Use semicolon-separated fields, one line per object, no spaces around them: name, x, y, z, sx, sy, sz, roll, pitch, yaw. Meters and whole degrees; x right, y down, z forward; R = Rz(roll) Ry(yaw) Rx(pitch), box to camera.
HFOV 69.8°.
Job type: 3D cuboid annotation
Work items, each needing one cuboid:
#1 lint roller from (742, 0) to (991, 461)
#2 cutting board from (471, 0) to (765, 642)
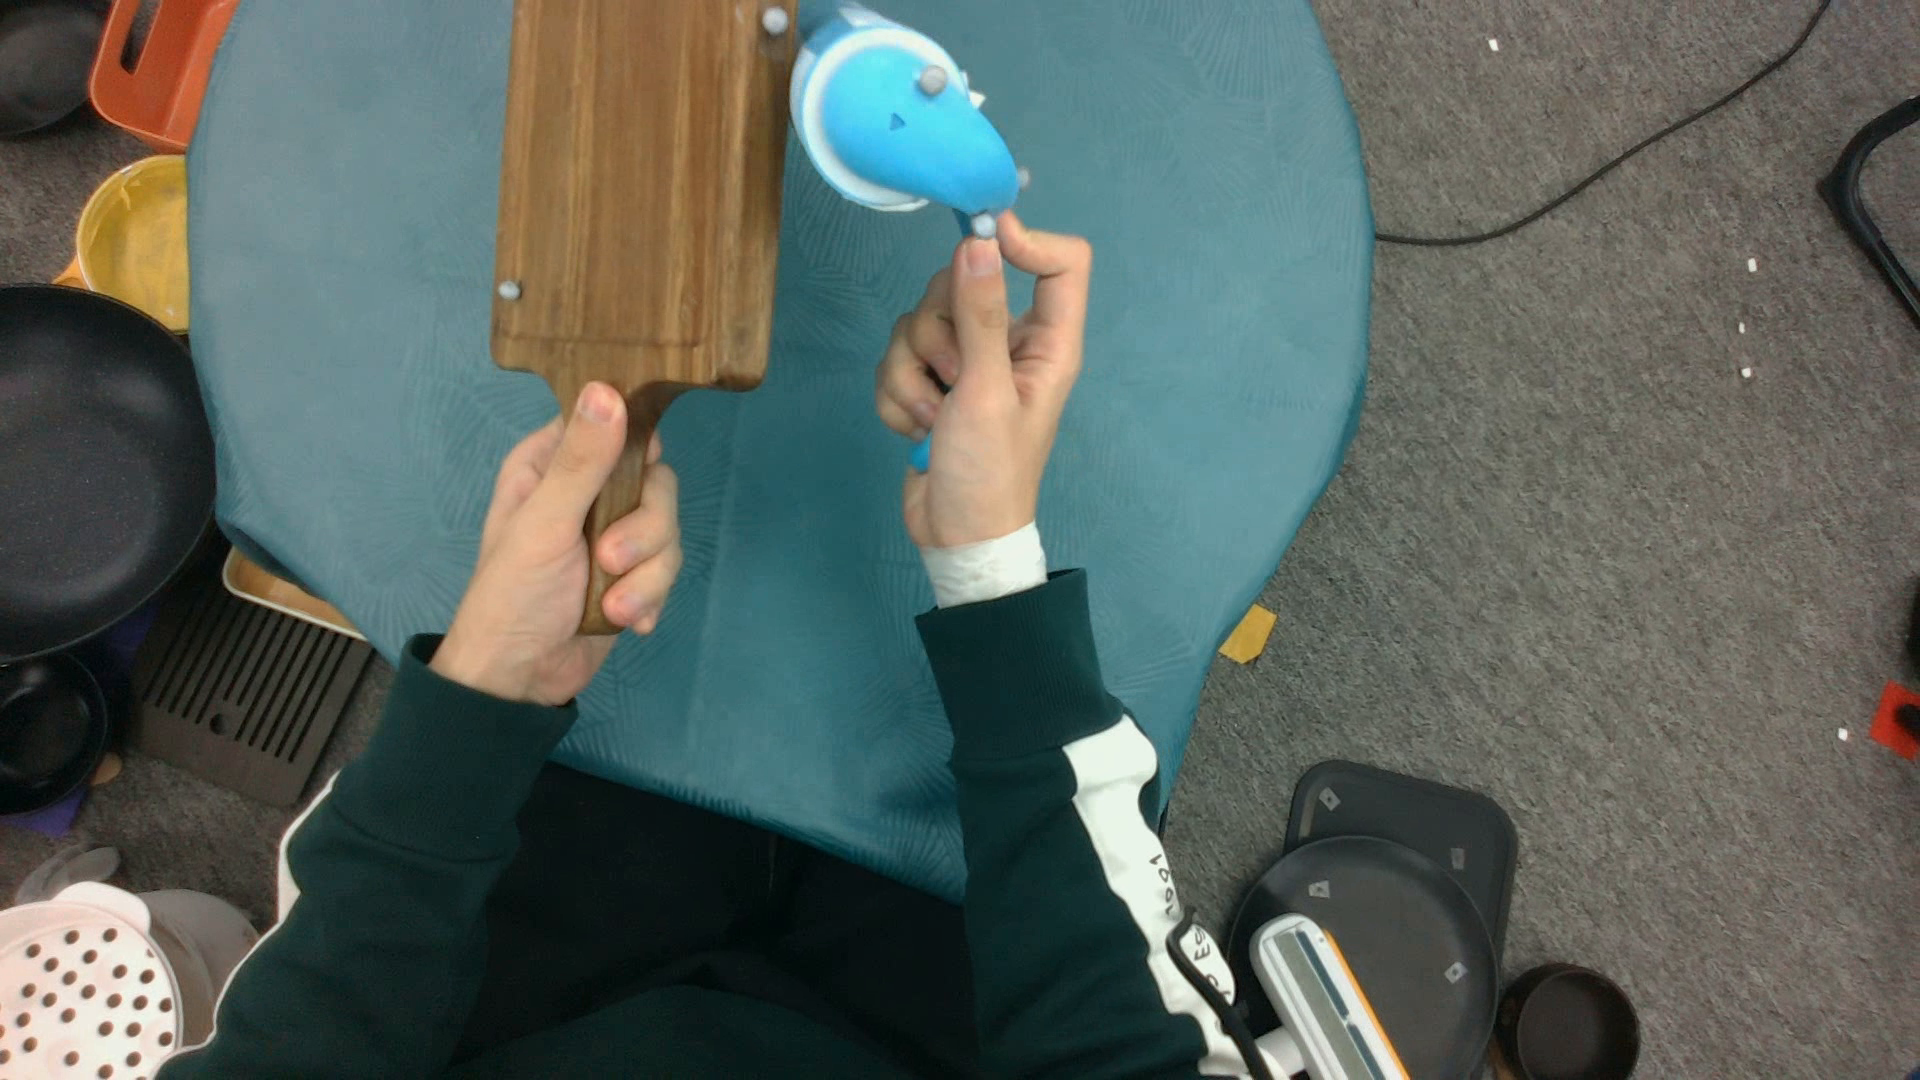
lint roller;-0.031;-0.121;0.536;0.068;0.229;0.180;-24;119;-4
cutting board;-0.138;-0.136;0.525;0.023;0.200;0.352;0;95;-41
